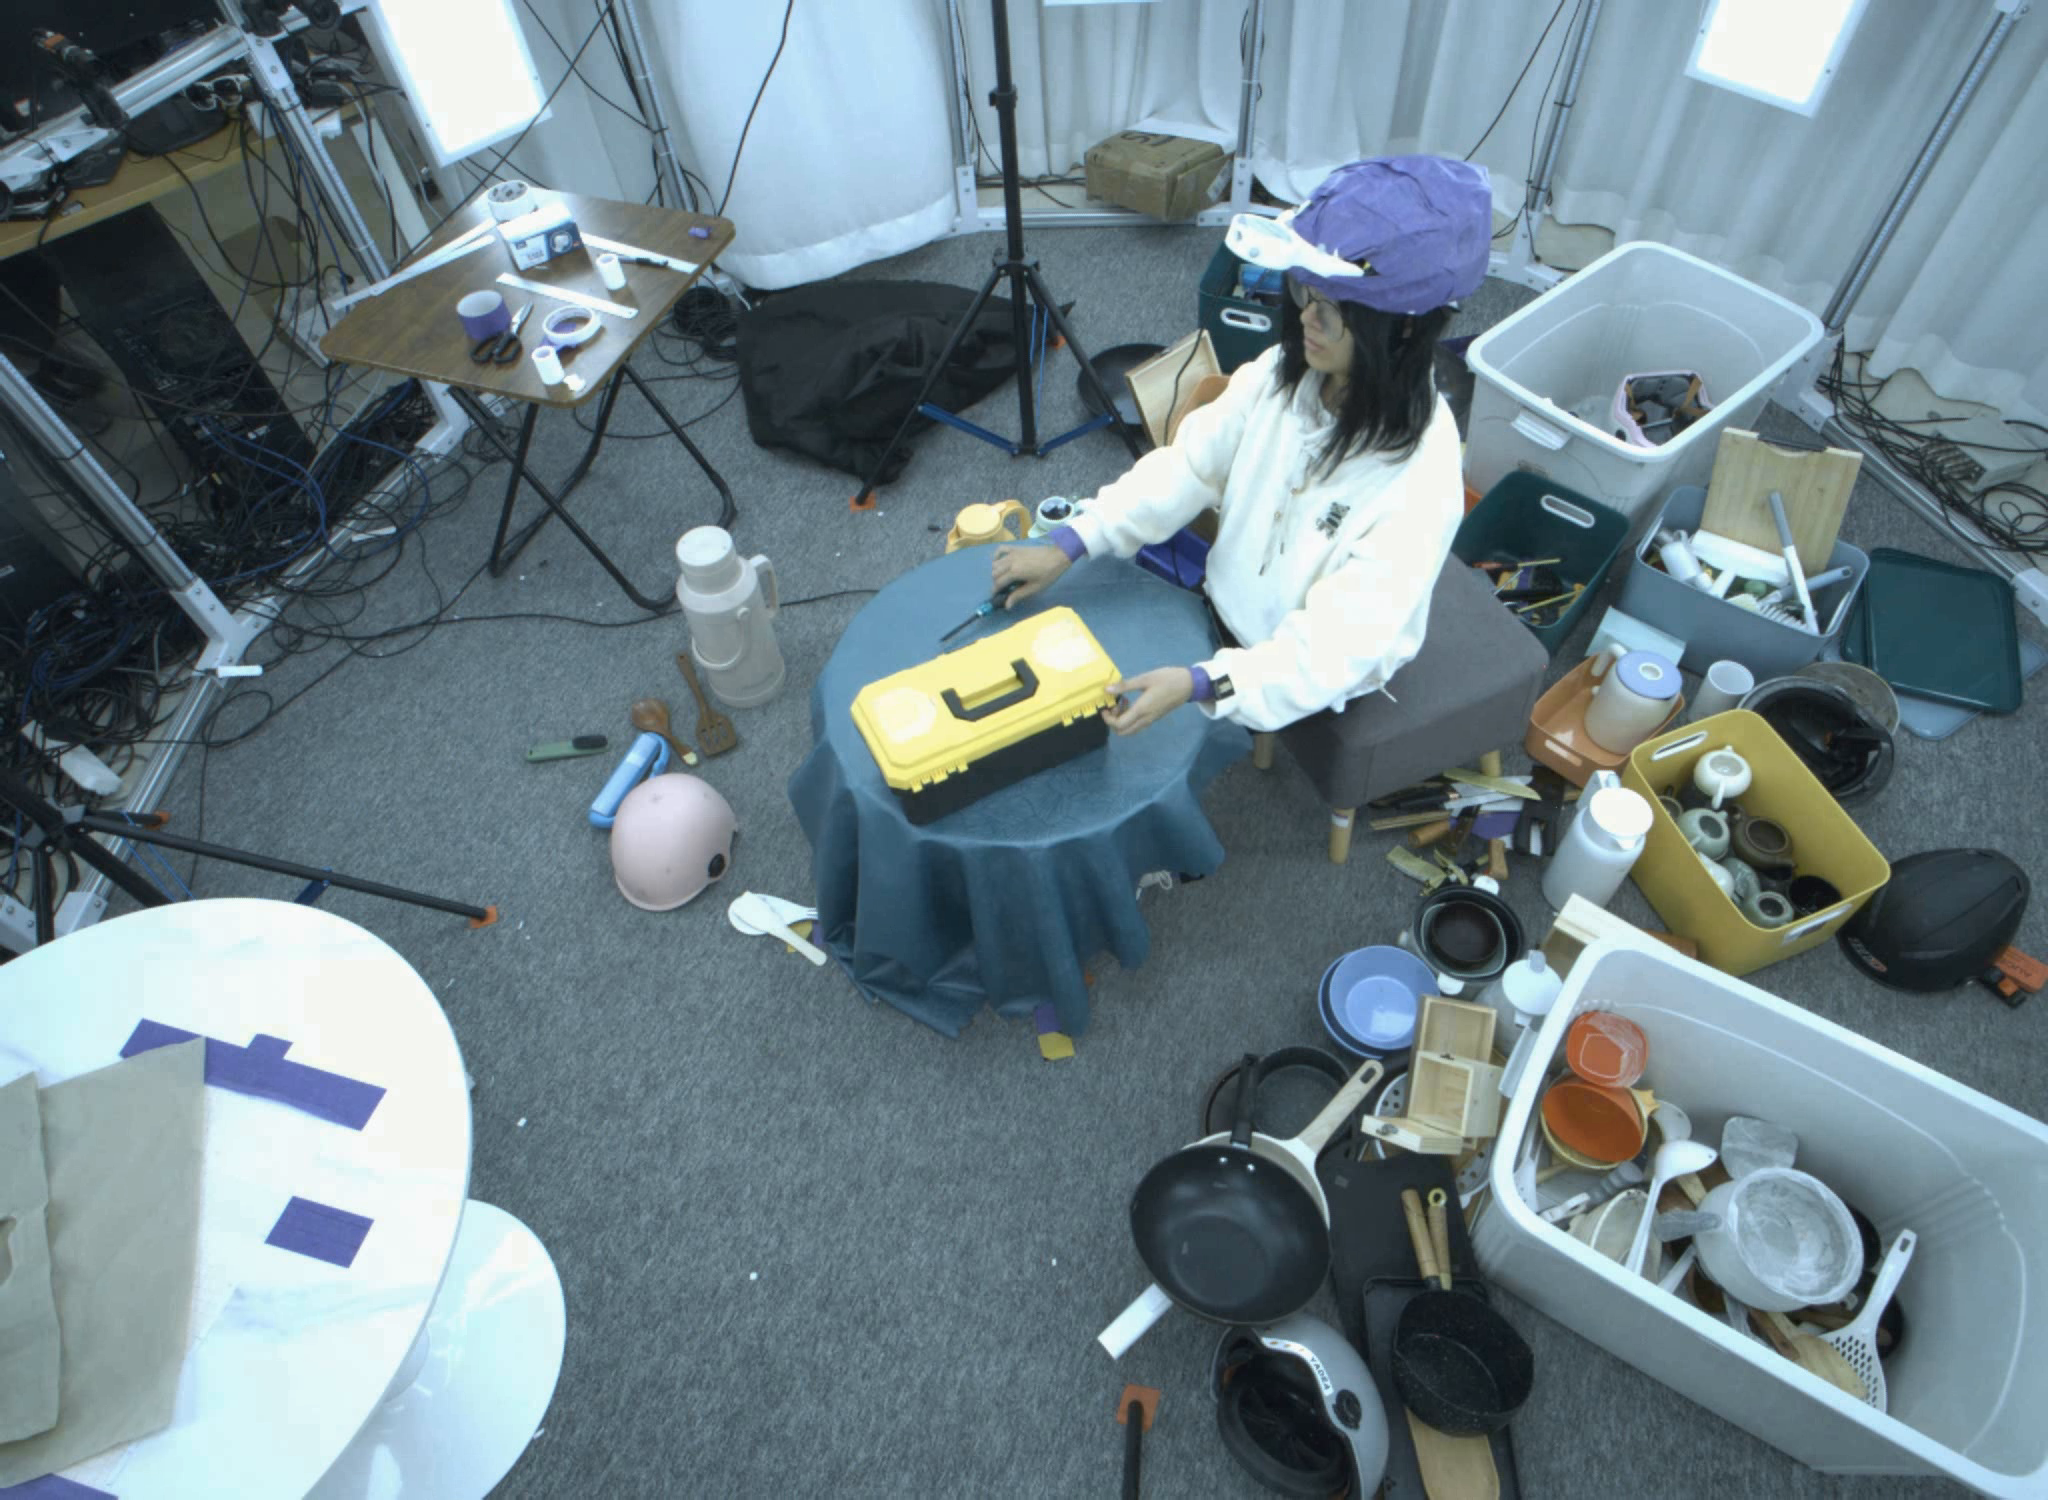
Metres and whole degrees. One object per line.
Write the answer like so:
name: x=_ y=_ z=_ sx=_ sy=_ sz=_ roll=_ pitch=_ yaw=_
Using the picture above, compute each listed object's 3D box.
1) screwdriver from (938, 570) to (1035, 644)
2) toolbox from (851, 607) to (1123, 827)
screwdriver: x=-0.061 y=-0.220 z=1.921 sx=0.191 sy=0.034 sz=0.033 roll=-38 pitch=61 yaw=-16
toolbox: x=-0.047 y=-0.044 z=1.714 sx=0.354 sy=0.175 sz=0.178 roll=-24 pitch=57 yaw=-14
